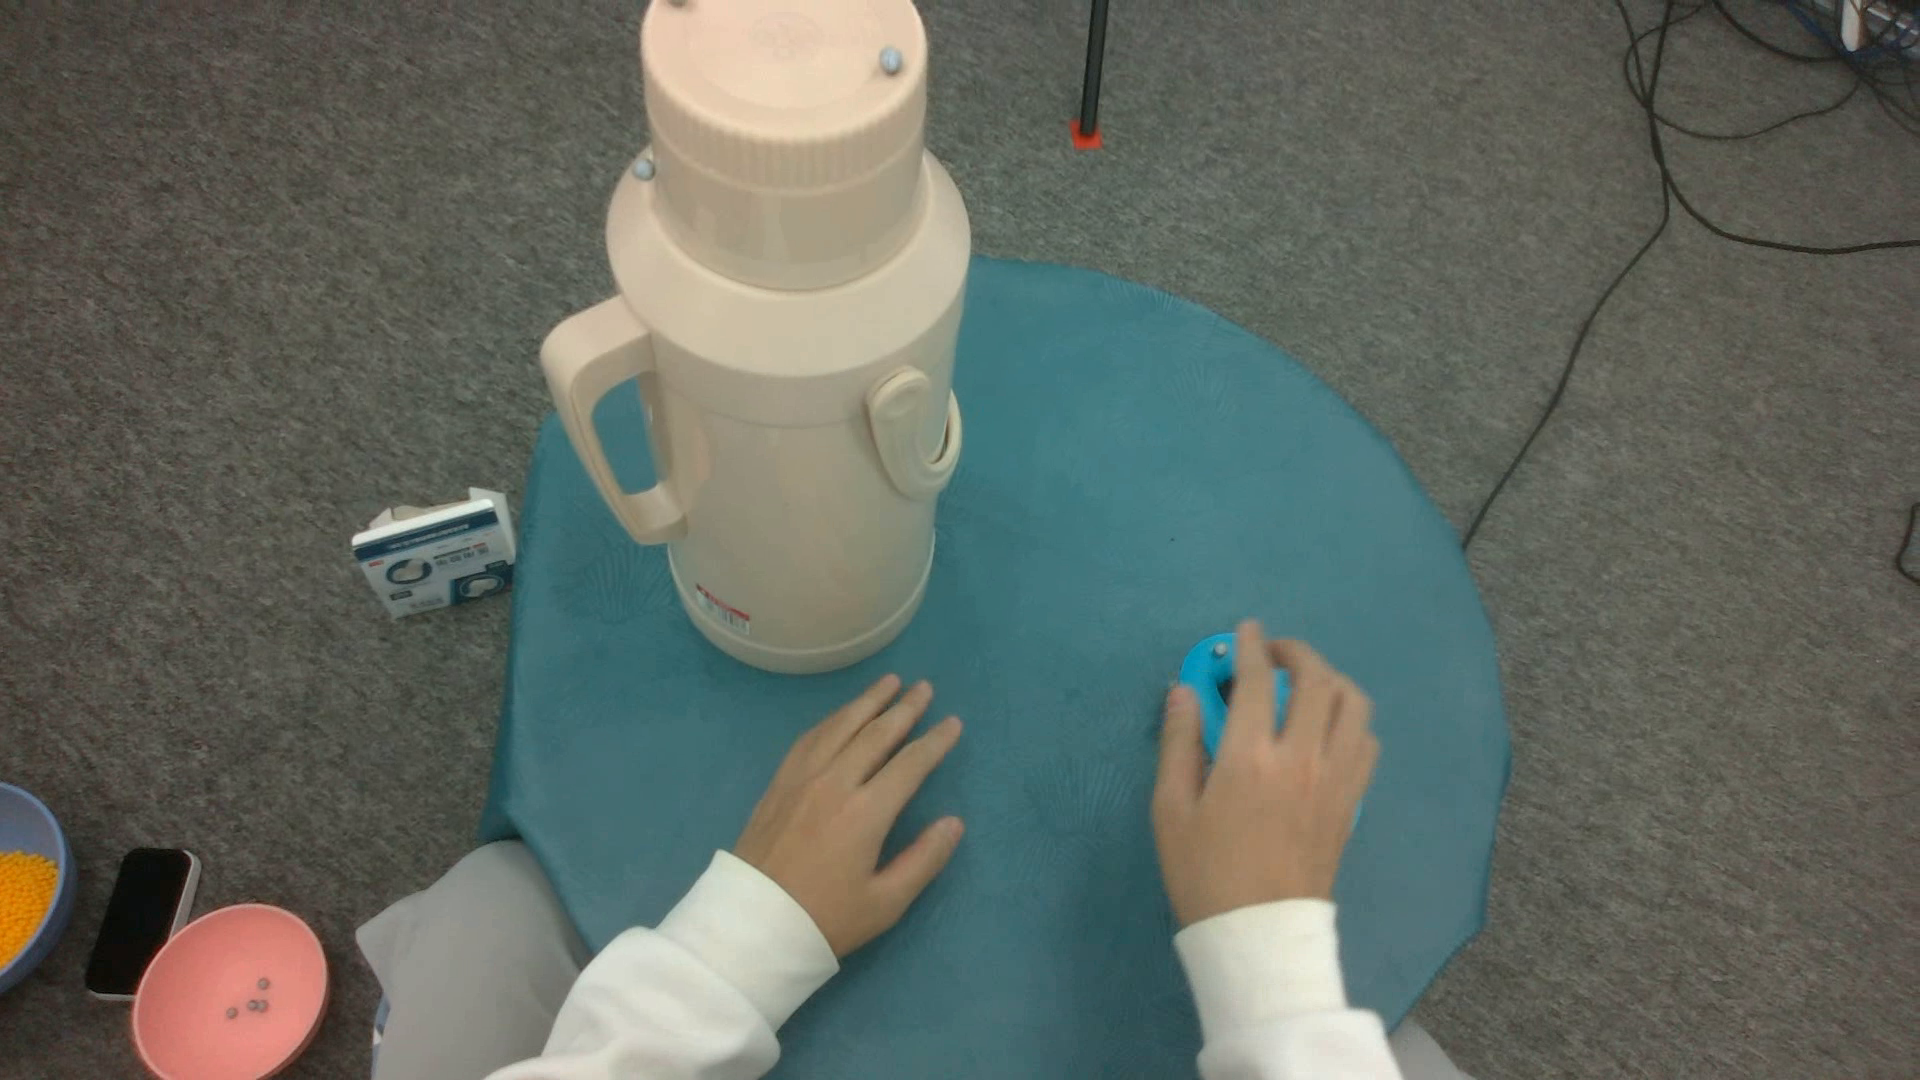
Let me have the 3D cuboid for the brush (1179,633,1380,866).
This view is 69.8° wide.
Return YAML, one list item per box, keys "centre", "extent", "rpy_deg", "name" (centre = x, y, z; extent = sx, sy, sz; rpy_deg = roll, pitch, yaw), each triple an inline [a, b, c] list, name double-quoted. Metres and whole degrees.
- centre: [0.189, 0.112, 0.795]
  extent: [0.084, 0.063, 0.142]
  rpy_deg: [-17, 63, -19]
  name: "brush"

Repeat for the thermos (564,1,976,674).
- centre: [-0.088, -0.077, 0.694]
  extent: [0.207, 0.404, 0.175]
  rpy_deg: [-33, 69, -20]
  name: "thermos"
